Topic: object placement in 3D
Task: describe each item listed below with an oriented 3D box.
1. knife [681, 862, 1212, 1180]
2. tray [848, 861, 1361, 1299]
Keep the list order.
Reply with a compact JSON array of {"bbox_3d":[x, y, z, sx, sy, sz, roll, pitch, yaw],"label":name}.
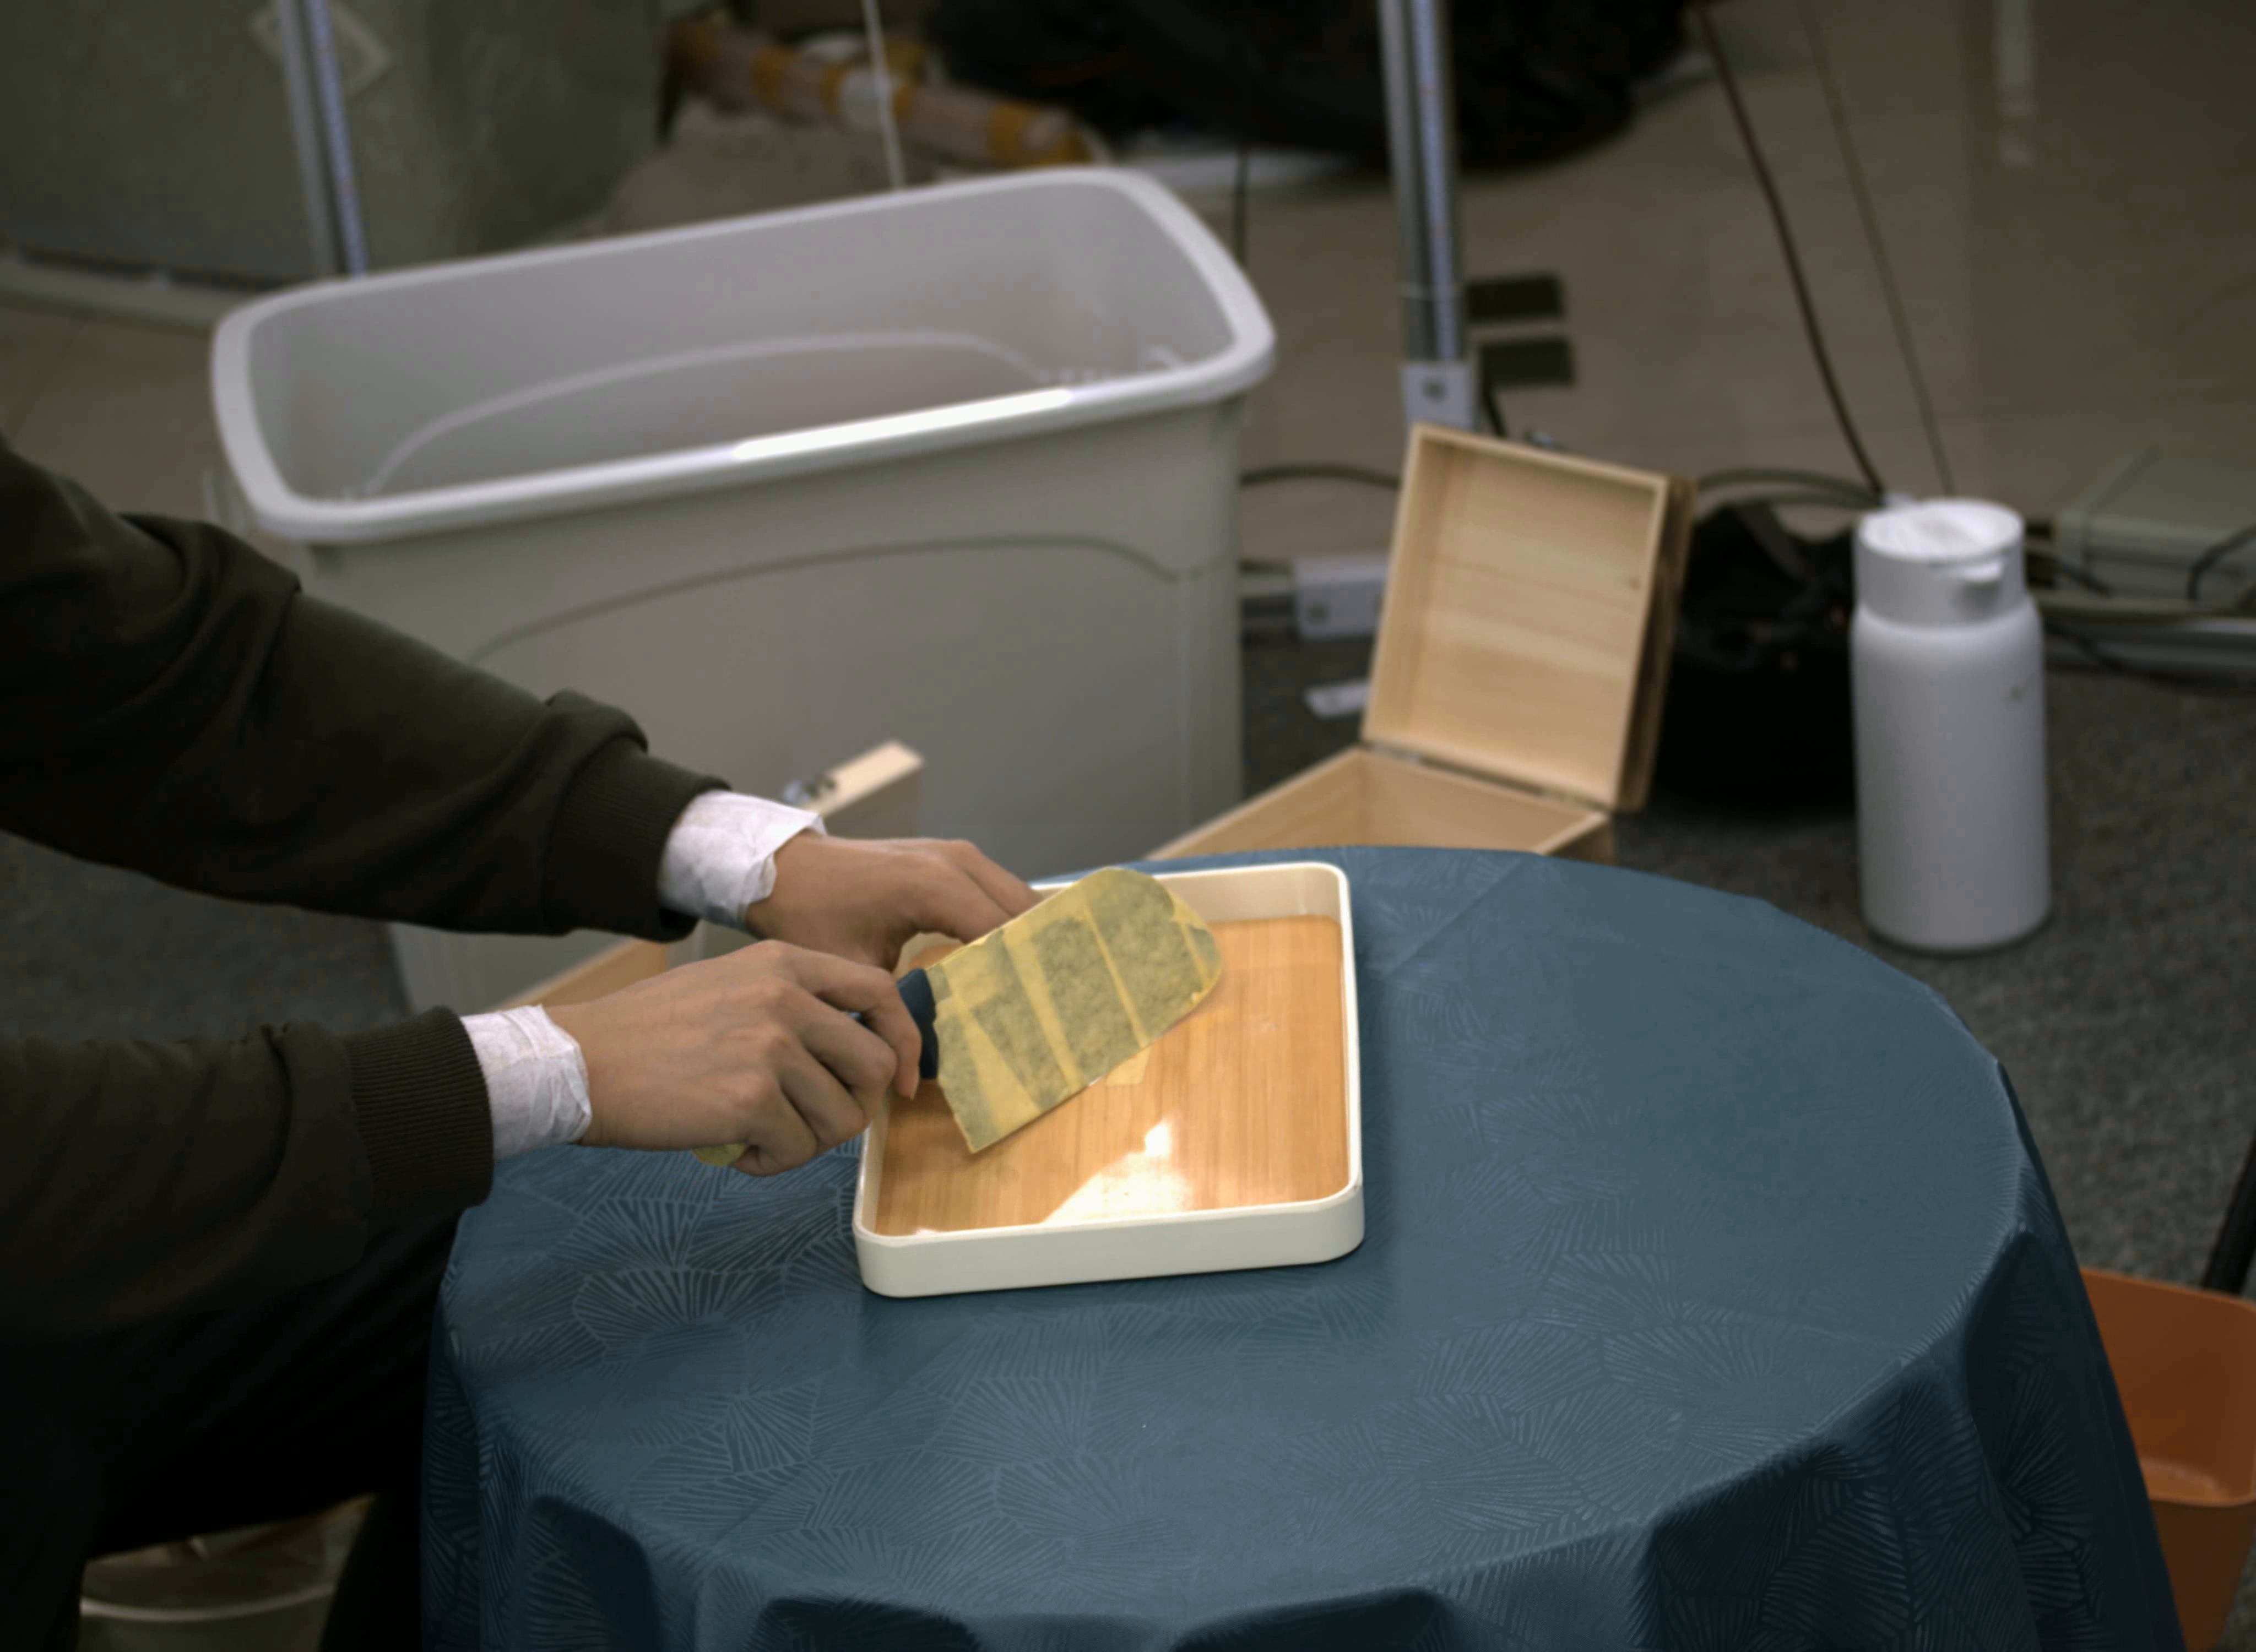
[{"bbox_3d":[-0.062,0.084,2.181,0.287,0.081,0.027,-26,6,-42],"label":"knife"},{"bbox_3d":[-0.006,0.095,2.216,0.191,0.028,0.296,-6,24,4],"label":"tray"}]
